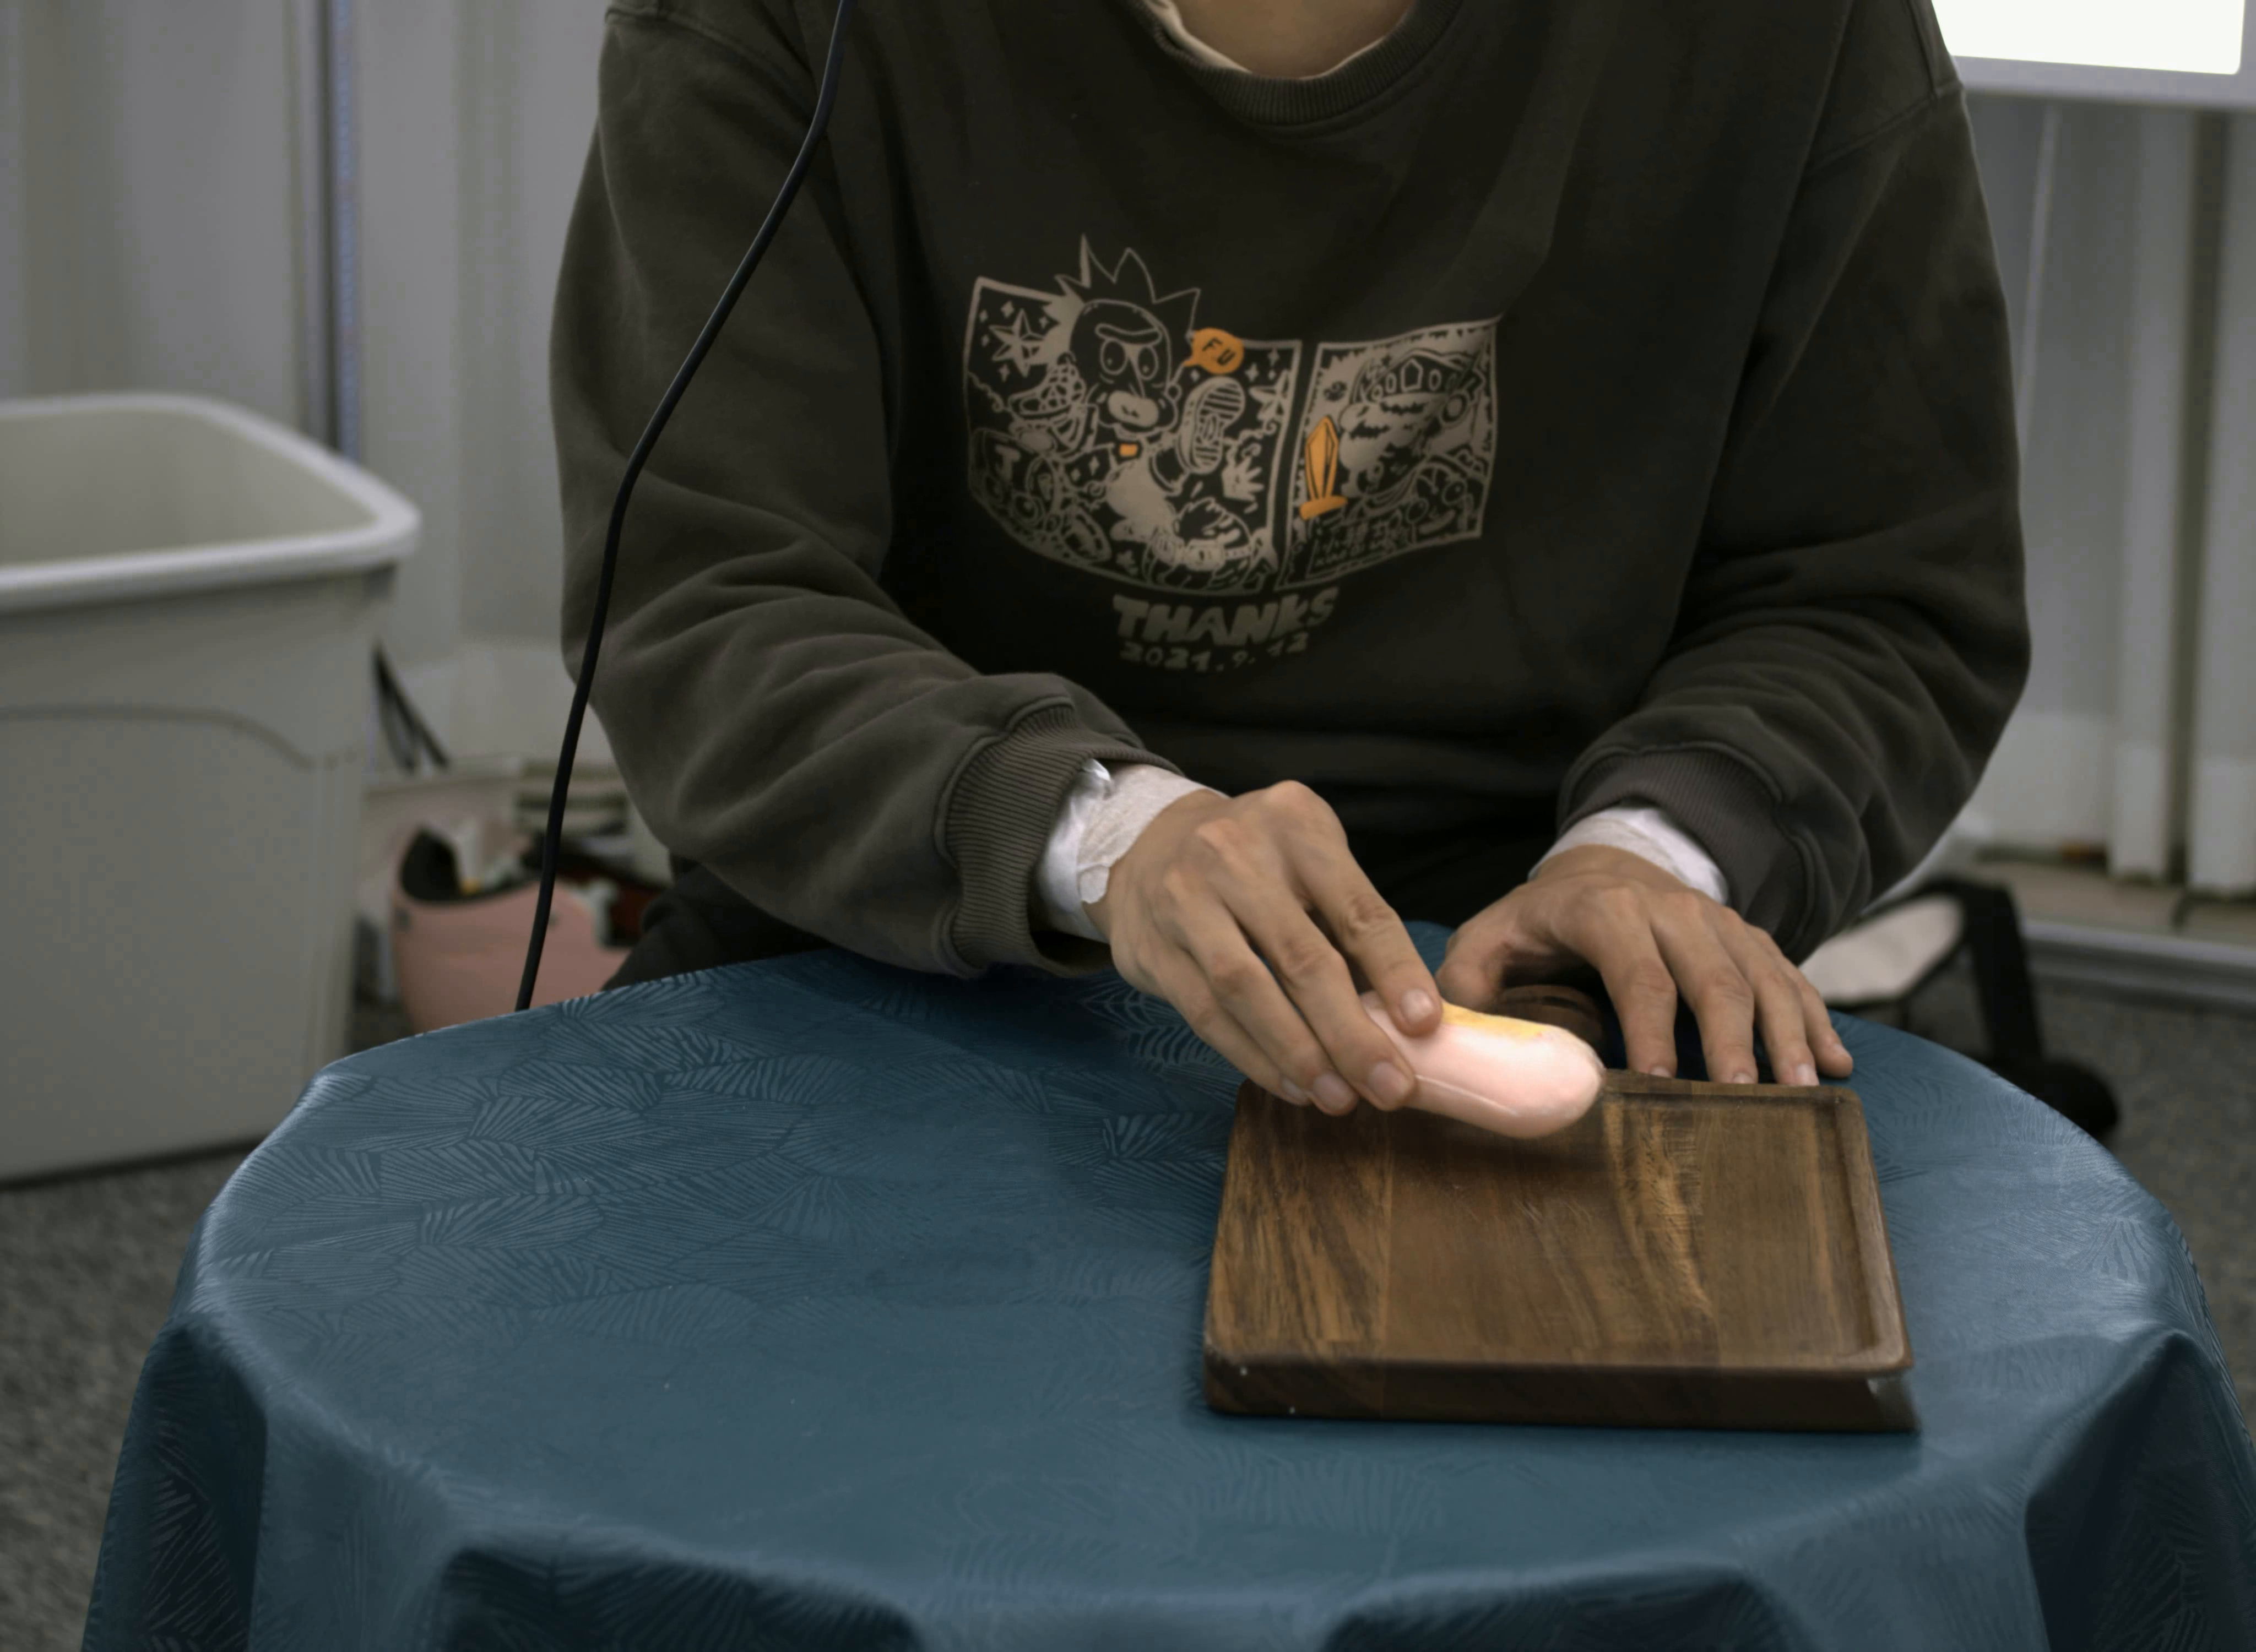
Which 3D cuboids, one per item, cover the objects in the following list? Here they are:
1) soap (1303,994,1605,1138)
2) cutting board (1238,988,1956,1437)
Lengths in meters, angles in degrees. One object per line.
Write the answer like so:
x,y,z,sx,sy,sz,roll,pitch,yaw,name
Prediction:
0.100,0.073,1.622,0.093,0.030,0.050,11,19,31,soap
0.140,0.110,1.605,0.200,0.023,0.351,2,15,4,cutting board
